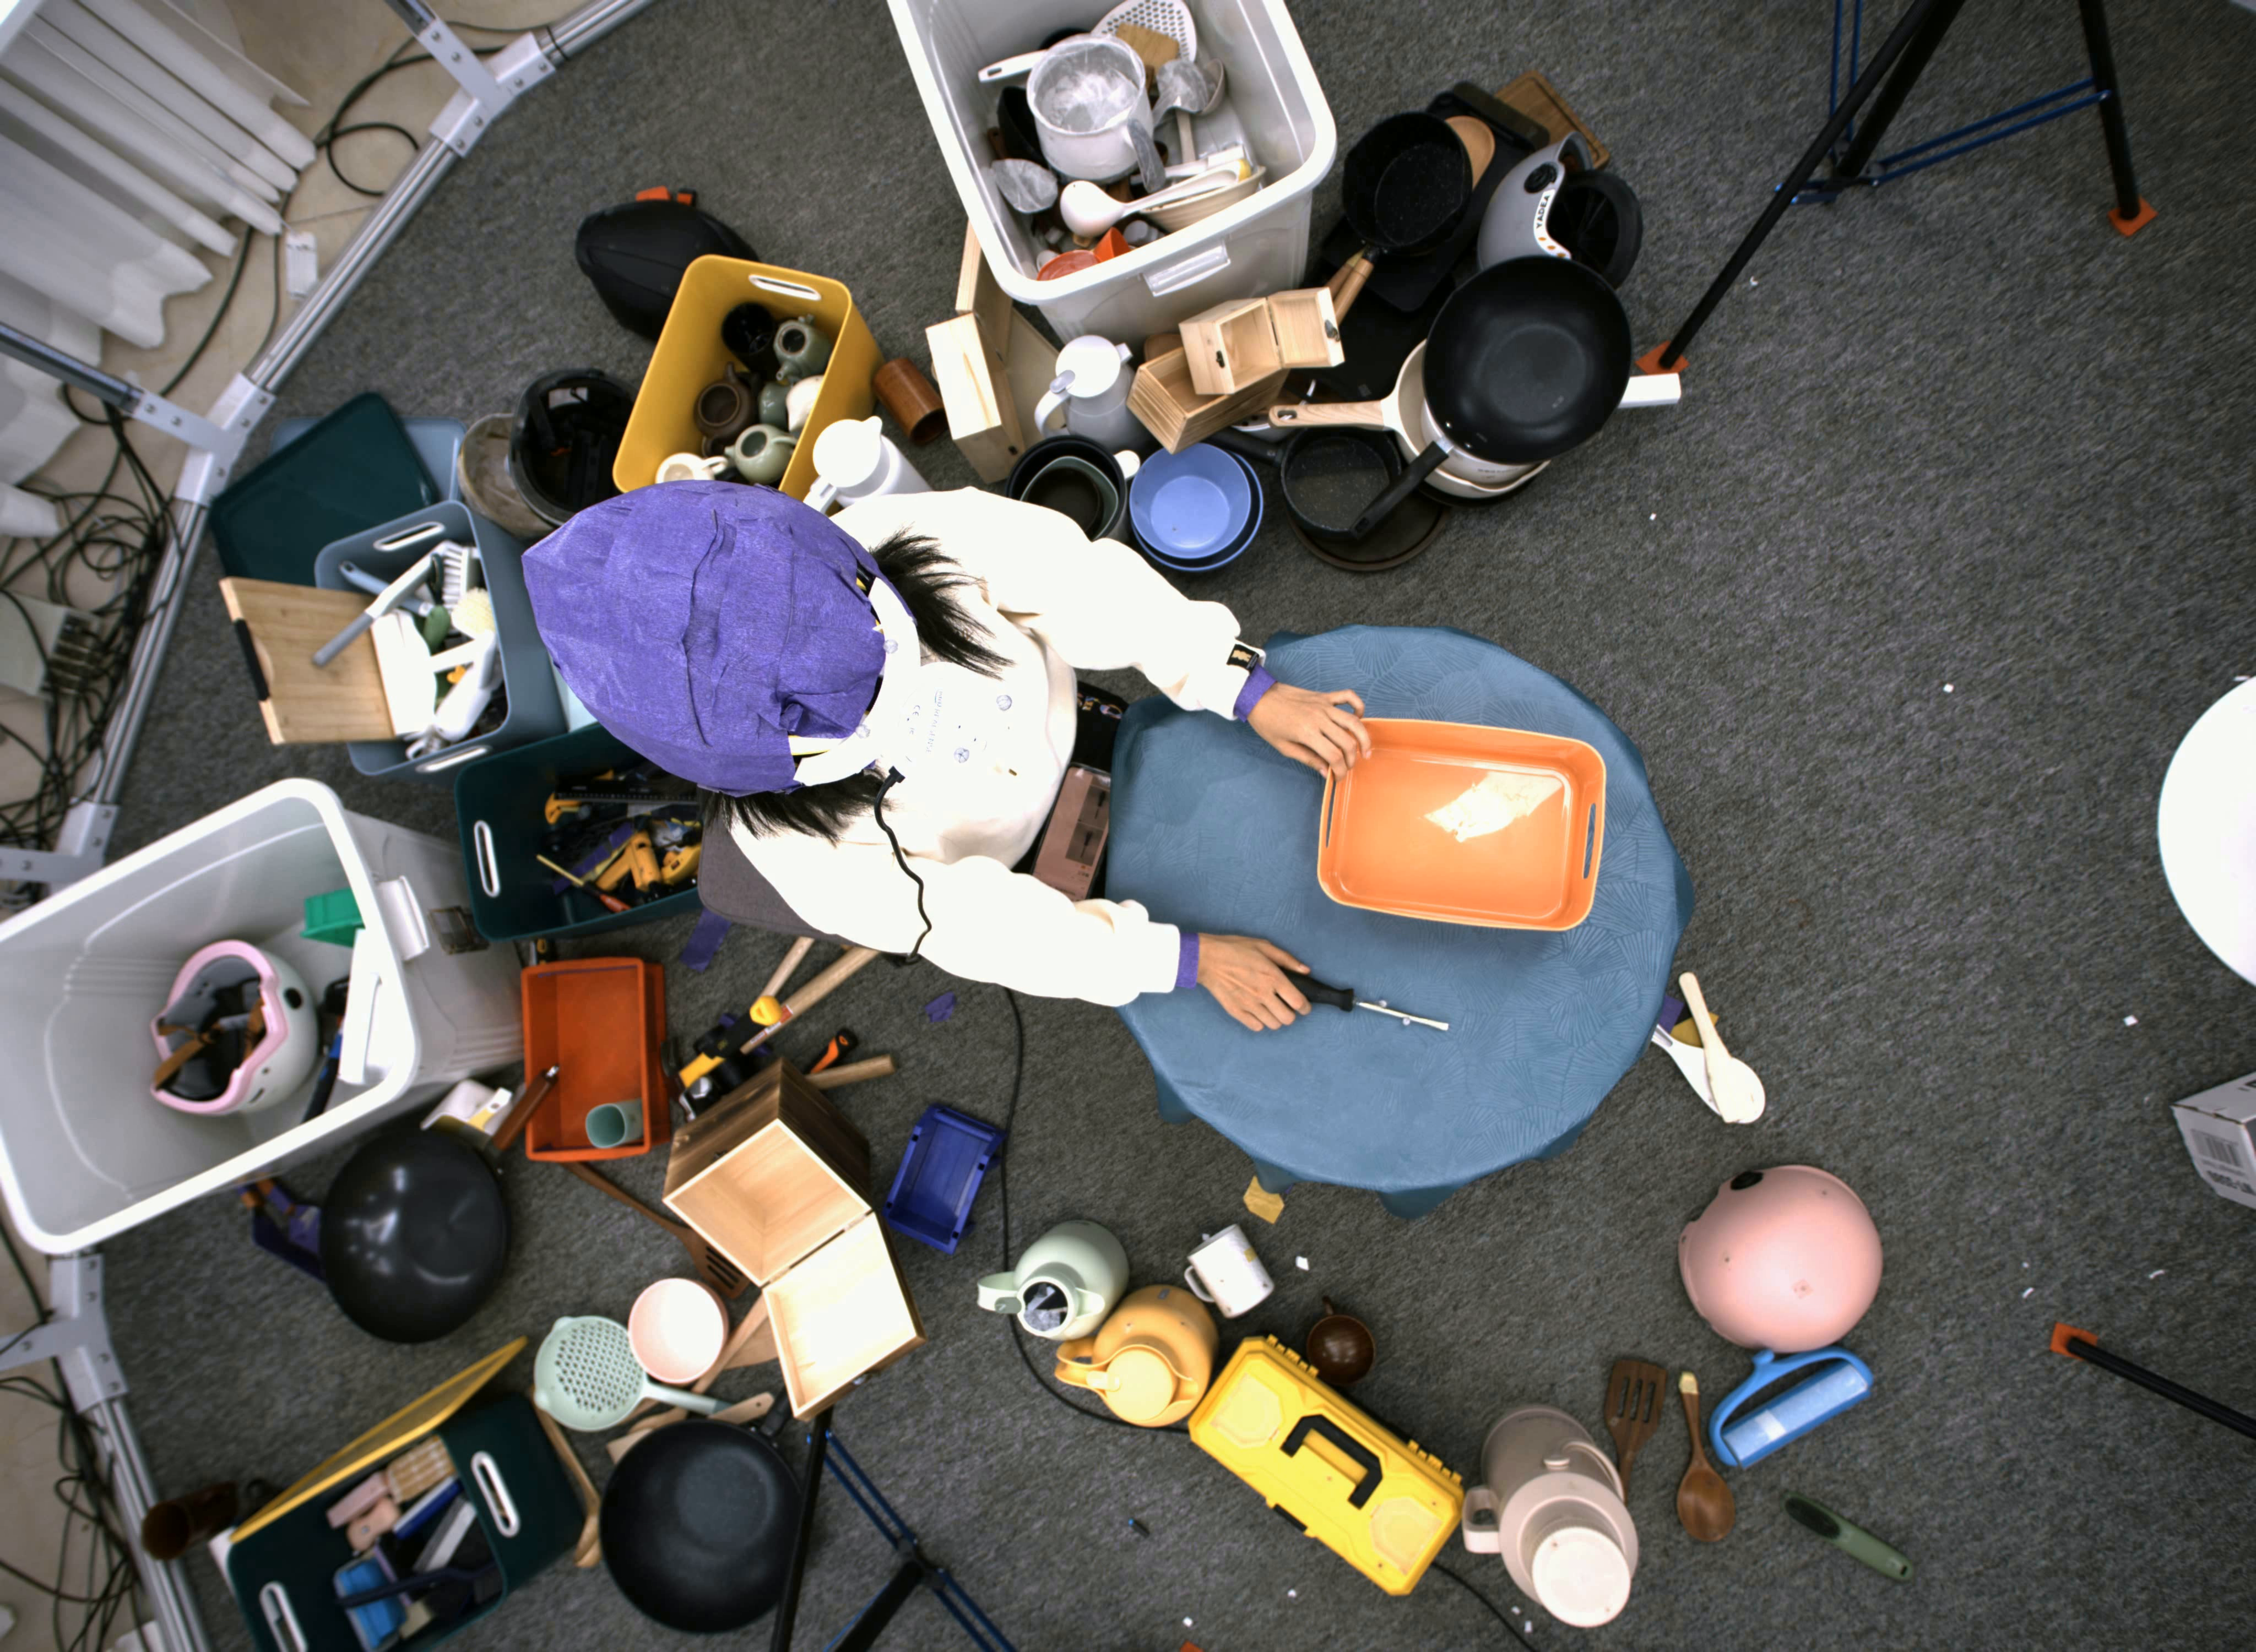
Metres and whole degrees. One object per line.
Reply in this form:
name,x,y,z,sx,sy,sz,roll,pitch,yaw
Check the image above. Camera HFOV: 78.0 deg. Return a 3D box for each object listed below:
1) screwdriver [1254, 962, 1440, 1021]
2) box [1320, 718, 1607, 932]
screwdriver,0.229,0.171,1.439,0.198,0.031,0.031,12,87,2
box,0.336,-0.001,1.399,0.274,0.102,0.199,6,88,10
